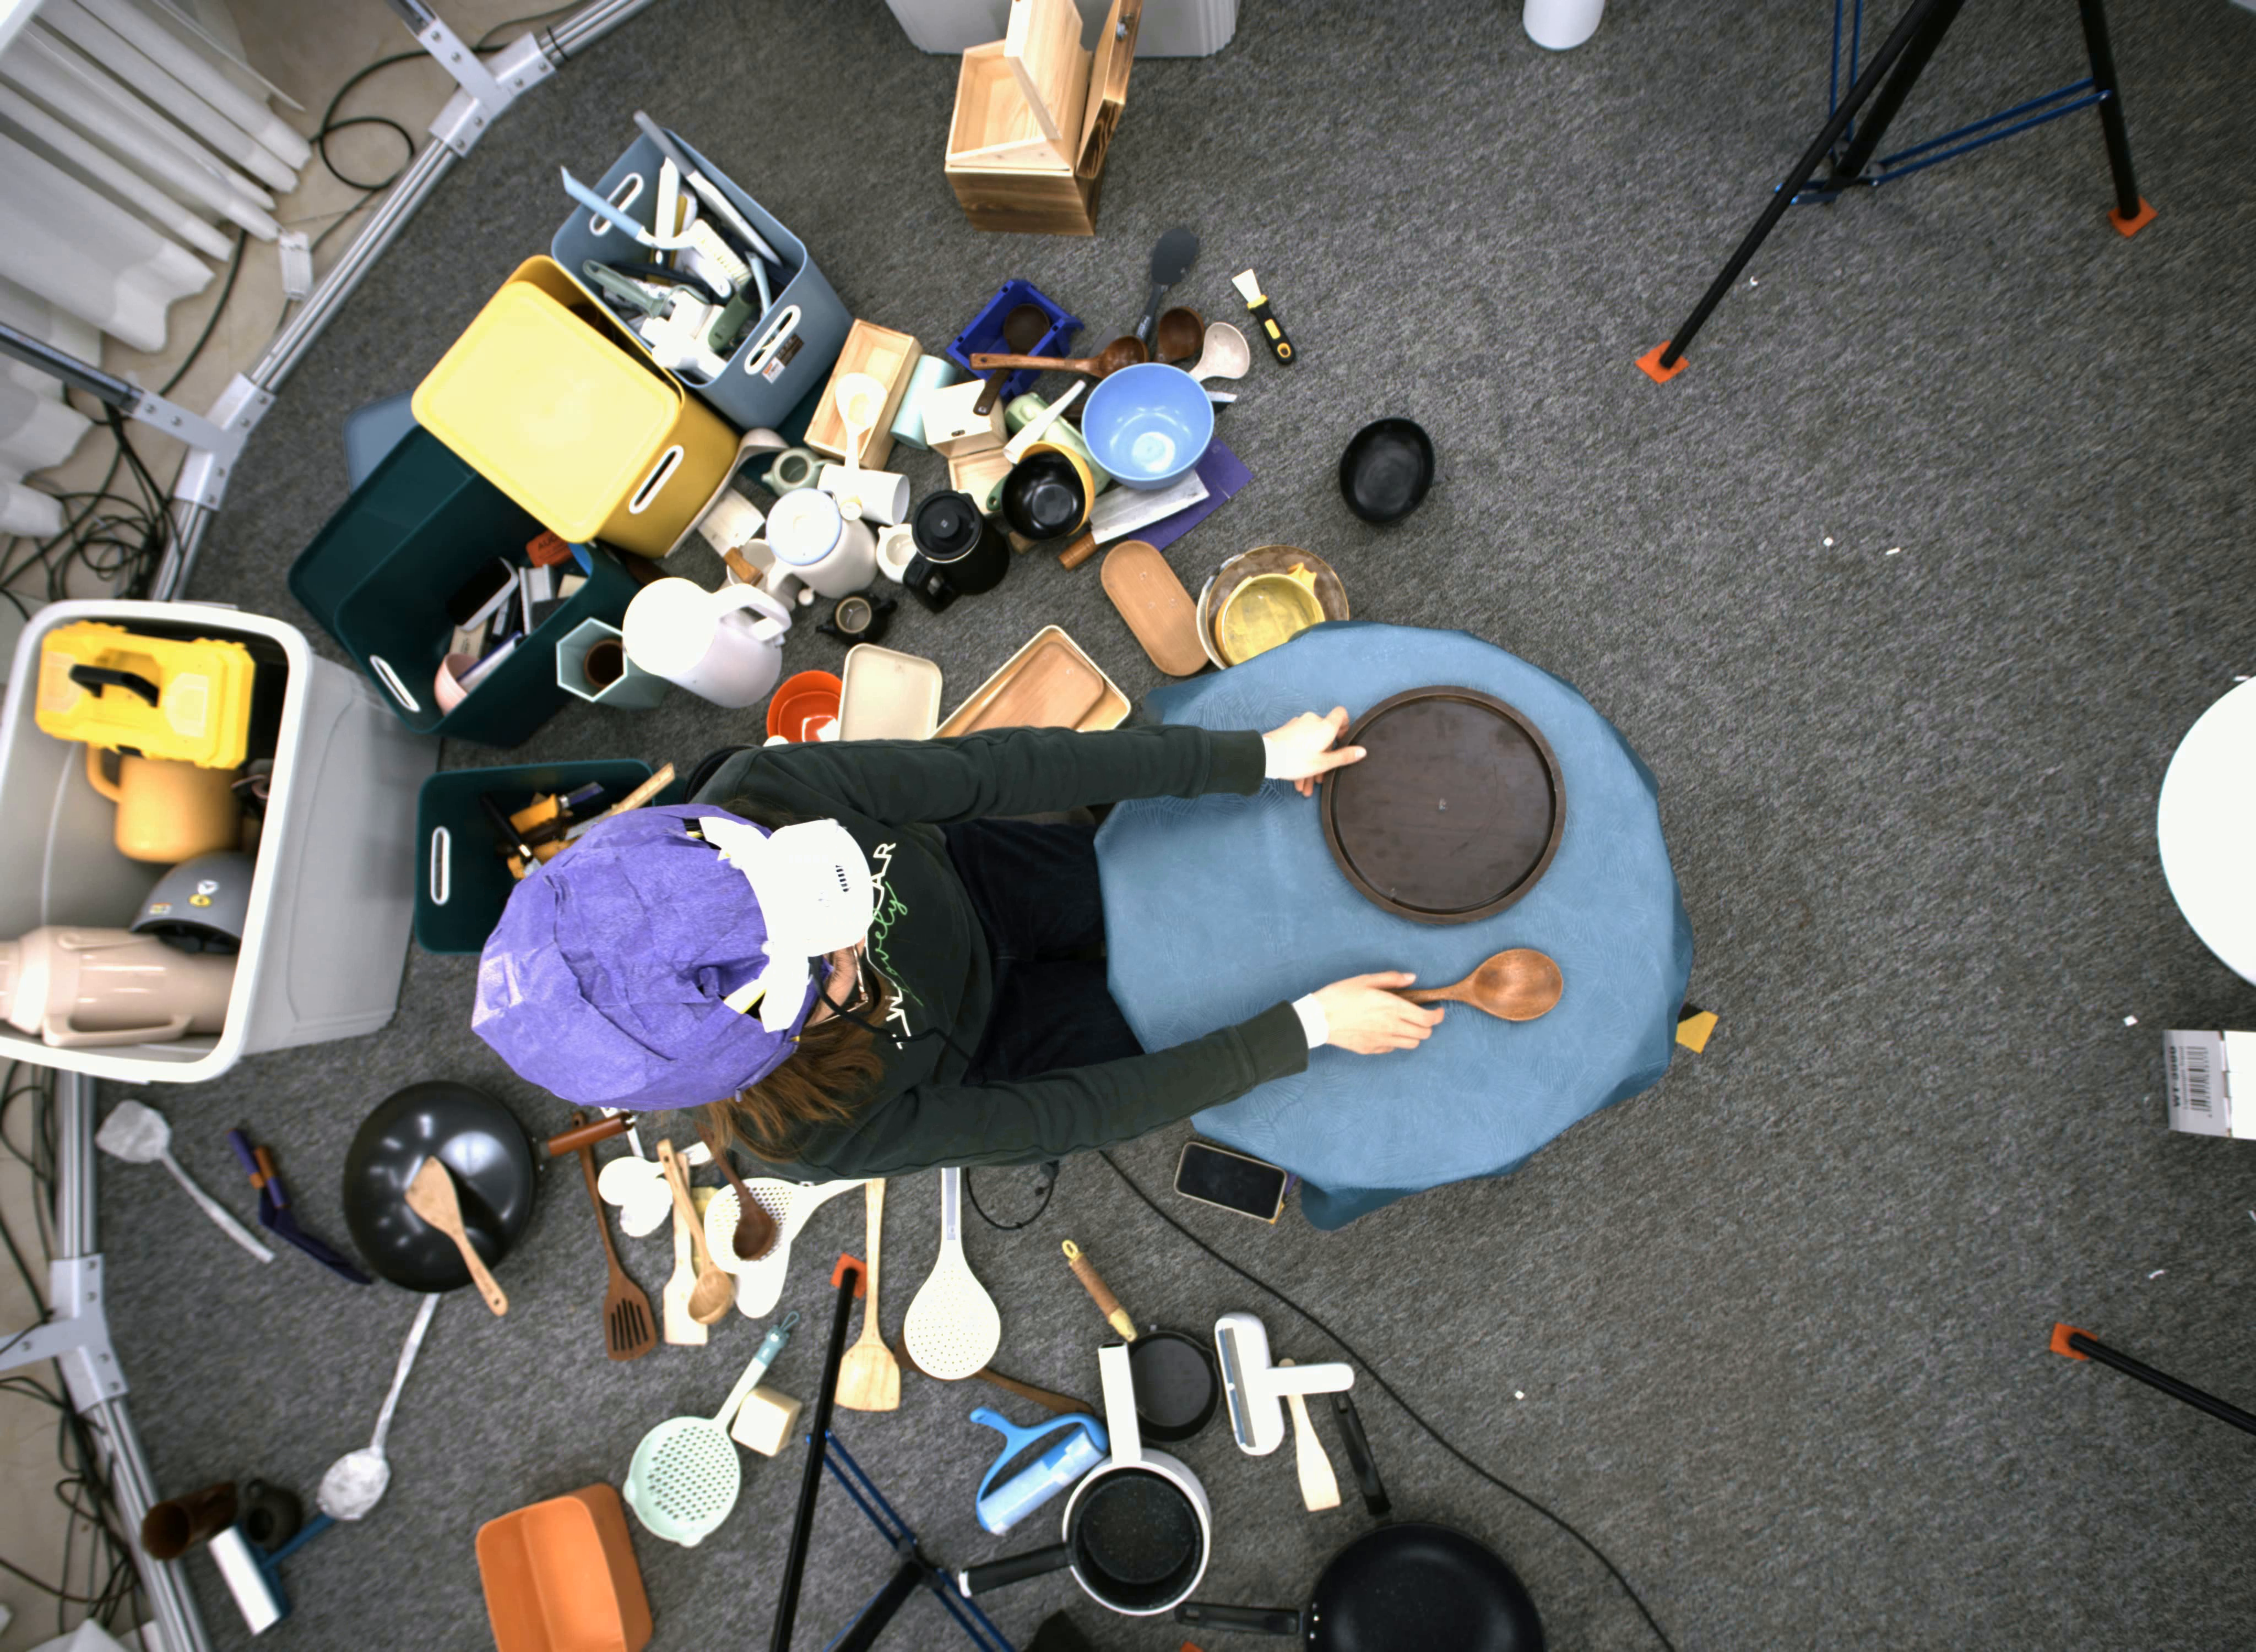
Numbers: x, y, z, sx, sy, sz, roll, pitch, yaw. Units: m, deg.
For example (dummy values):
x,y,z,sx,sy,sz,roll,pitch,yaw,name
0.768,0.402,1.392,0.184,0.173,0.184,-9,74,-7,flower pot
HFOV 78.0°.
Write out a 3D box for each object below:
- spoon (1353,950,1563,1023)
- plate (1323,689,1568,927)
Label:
x,y,z,sx,sy,sz,roll,pitch,yaw,name
0.342,0.174,1.436,0.217,0.017,0.075,-9,85,9,spoon
0.332,-0.021,1.449,0.256,0.029,0.253,-1,85,10,plate
